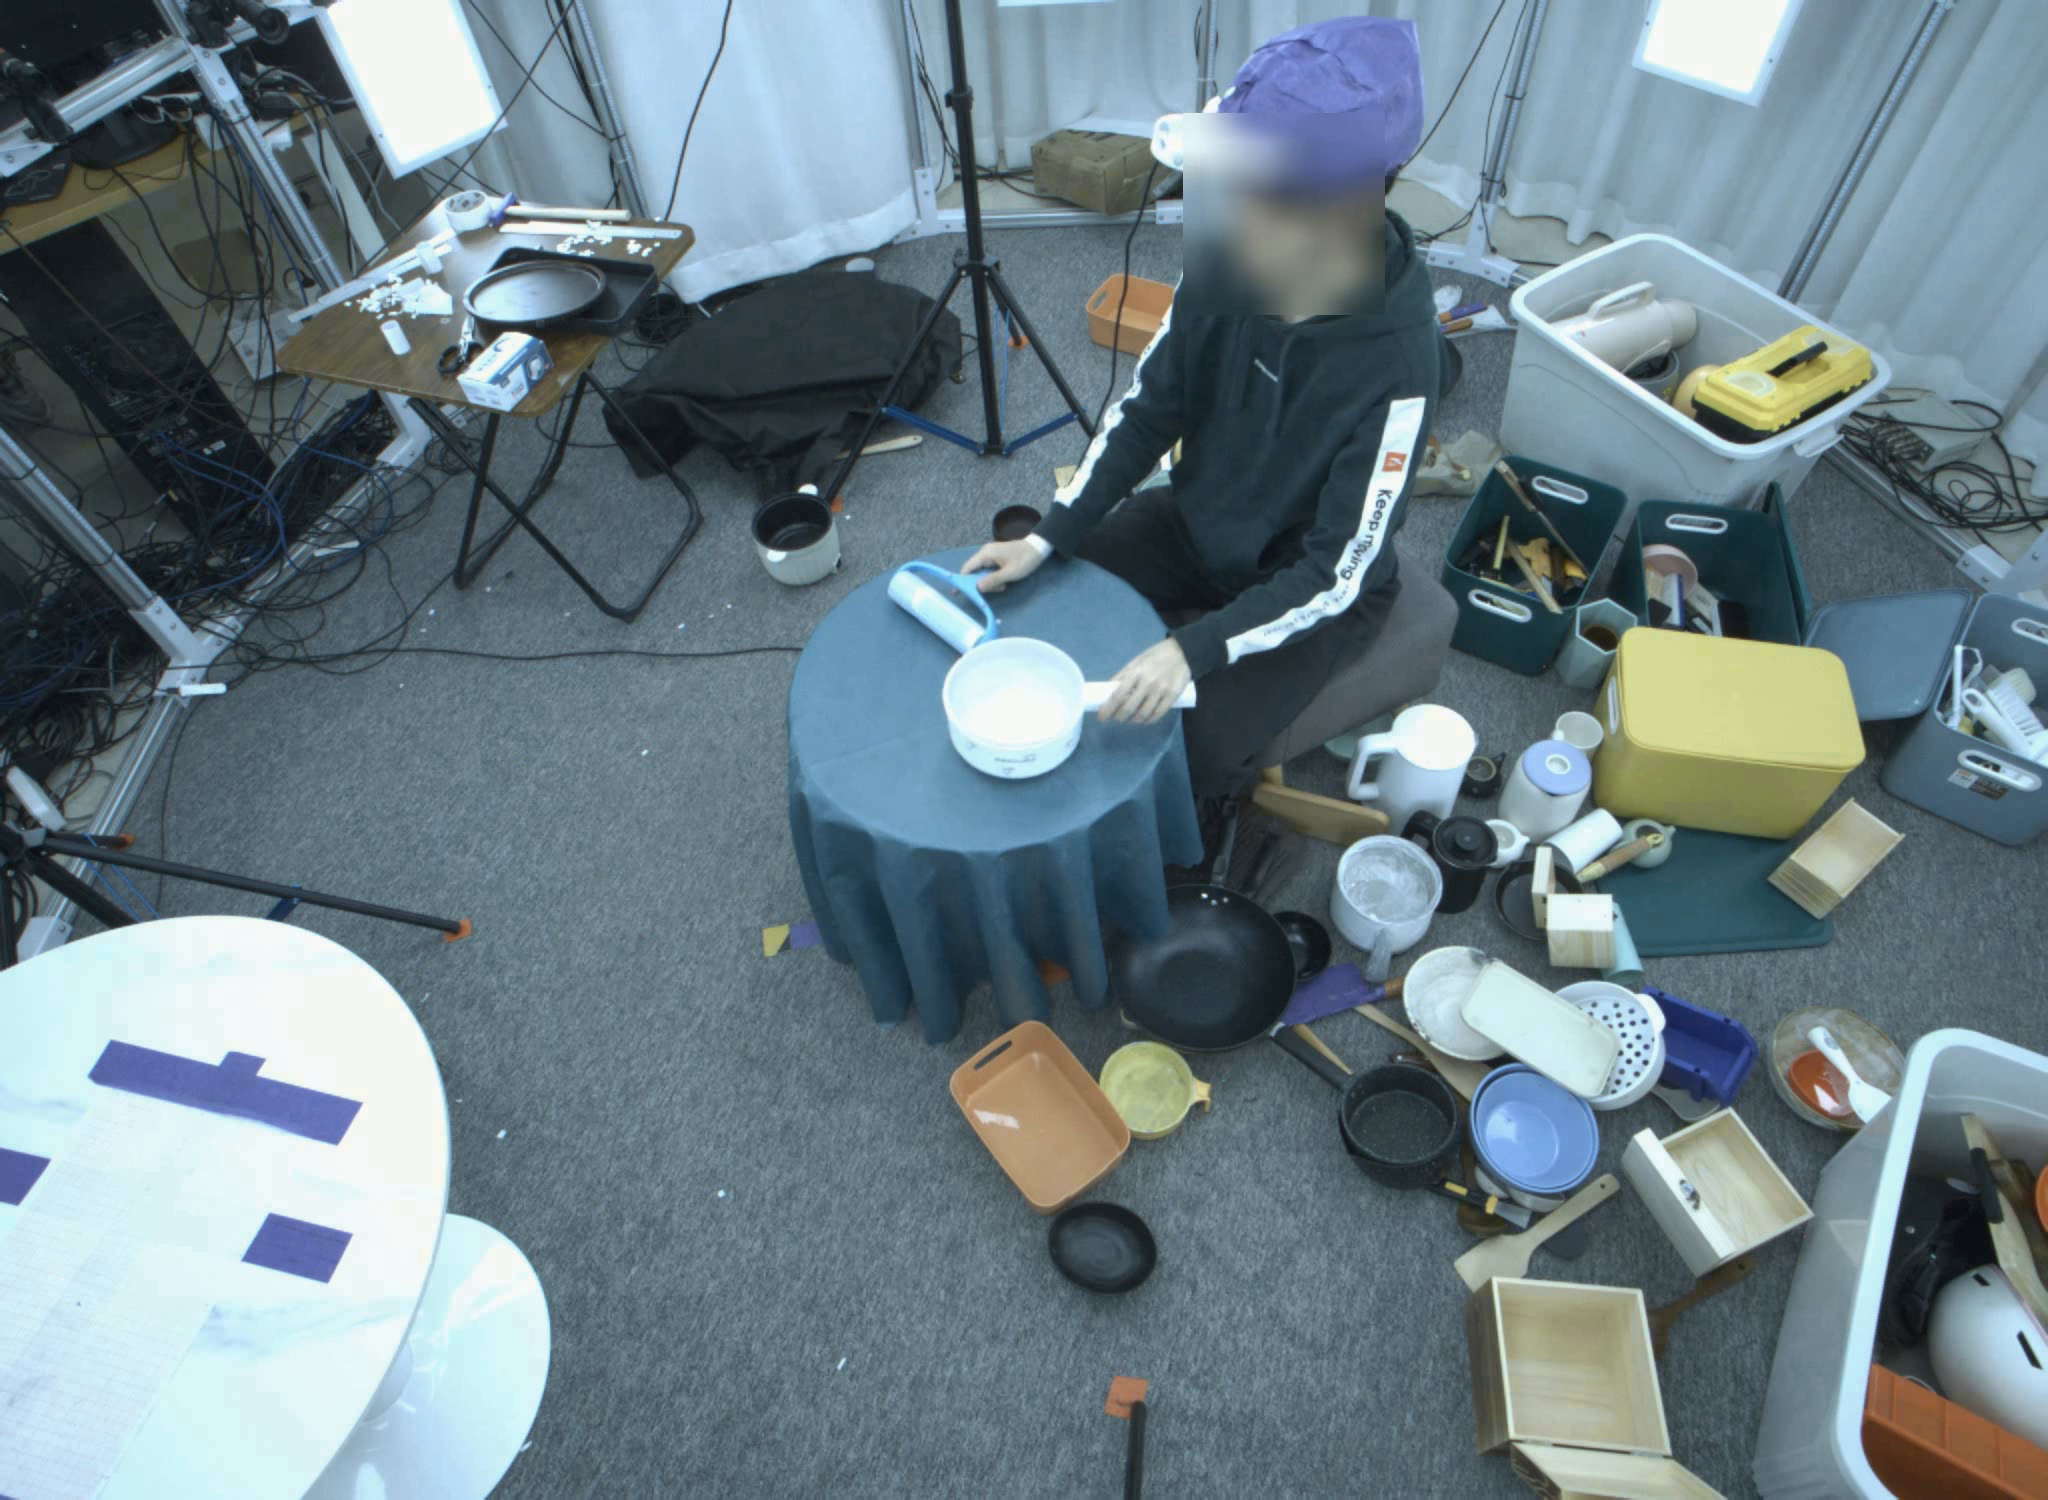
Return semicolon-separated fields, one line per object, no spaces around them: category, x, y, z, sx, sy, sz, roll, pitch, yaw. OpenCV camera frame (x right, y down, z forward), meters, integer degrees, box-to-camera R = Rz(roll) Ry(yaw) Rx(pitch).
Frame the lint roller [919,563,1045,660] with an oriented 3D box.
lint roller;-0.041;-0.242;1.921;0.224;0.069;0.181;37;65;27

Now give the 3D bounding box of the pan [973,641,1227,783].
pan;0.106;-0.048;1.755;0.356;0.103;0.199;1;54;-3
